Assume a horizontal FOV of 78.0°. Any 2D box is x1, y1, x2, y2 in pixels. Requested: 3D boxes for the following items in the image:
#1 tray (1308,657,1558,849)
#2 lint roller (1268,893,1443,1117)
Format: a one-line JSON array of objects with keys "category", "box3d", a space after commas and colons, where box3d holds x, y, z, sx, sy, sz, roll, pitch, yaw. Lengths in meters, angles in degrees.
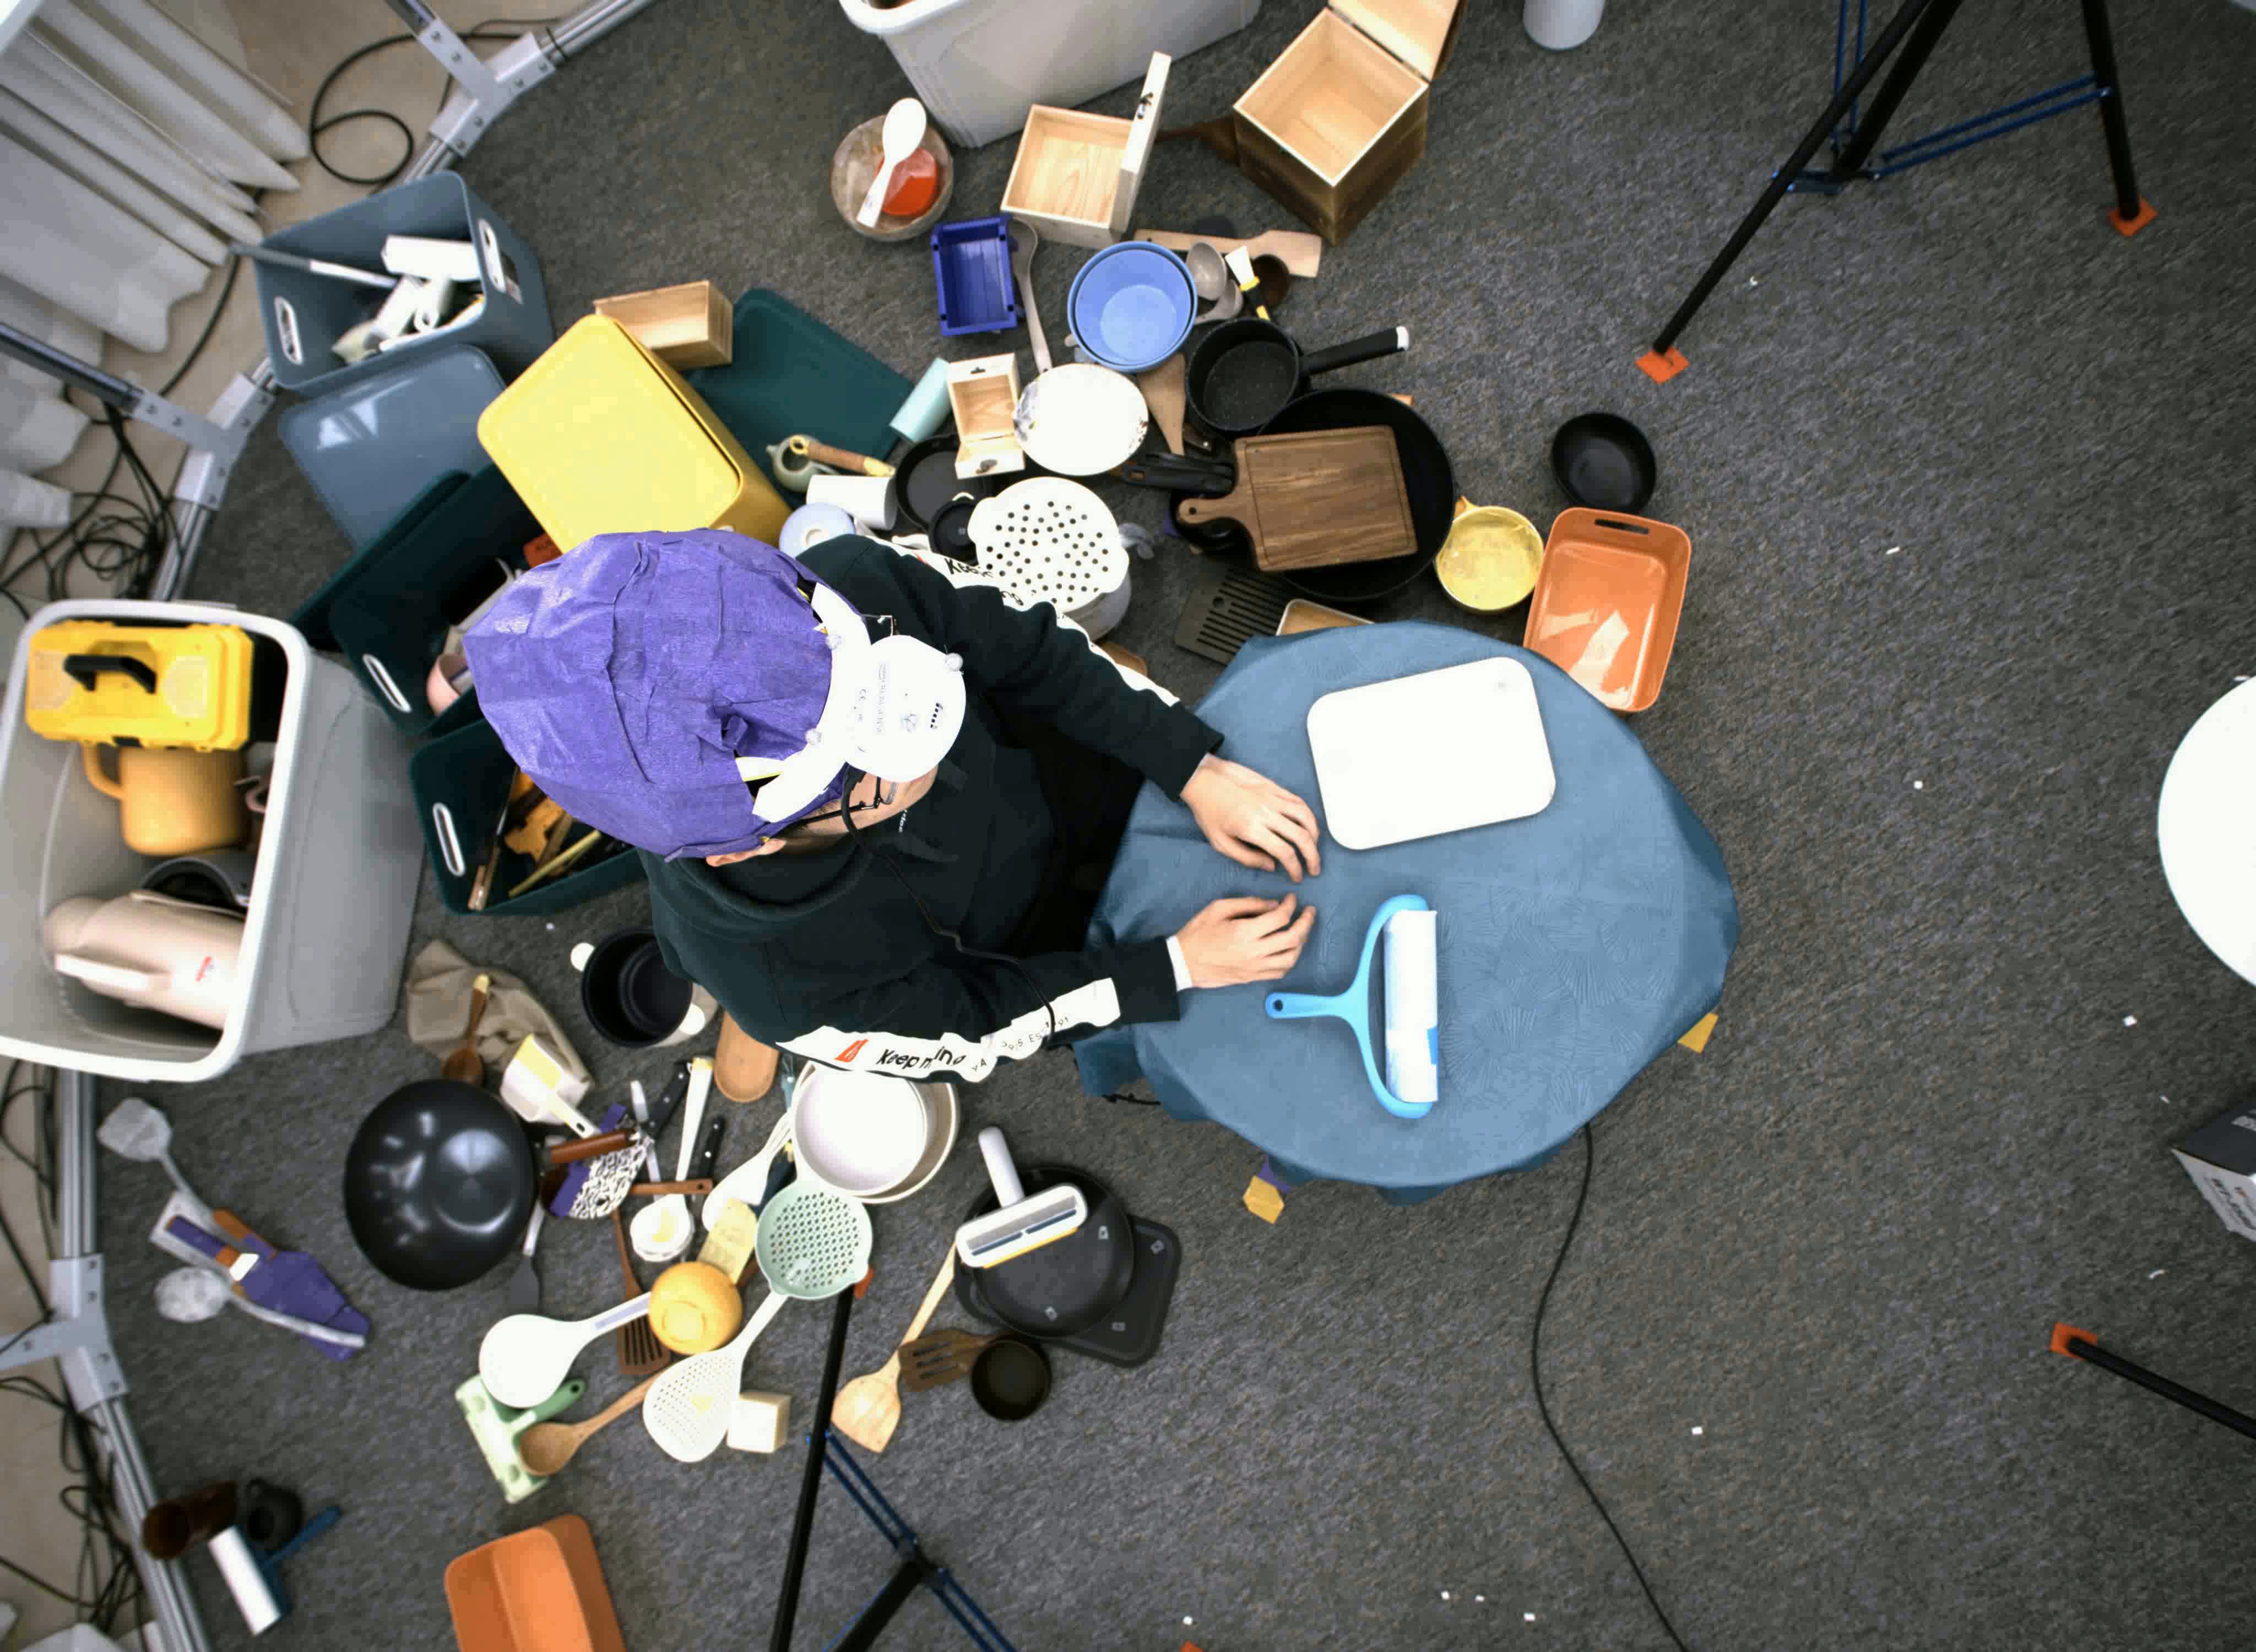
[{"category": "tray", "box3d": [0.319, -0.078, 1.445, 0.241, 0.017, 0.170, -12, 84, 10]}, {"category": "lint roller", "box3d": [0.234, 0.186, 1.427, 0.181, 0.068, 0.228, -4, 88, 9]}]
